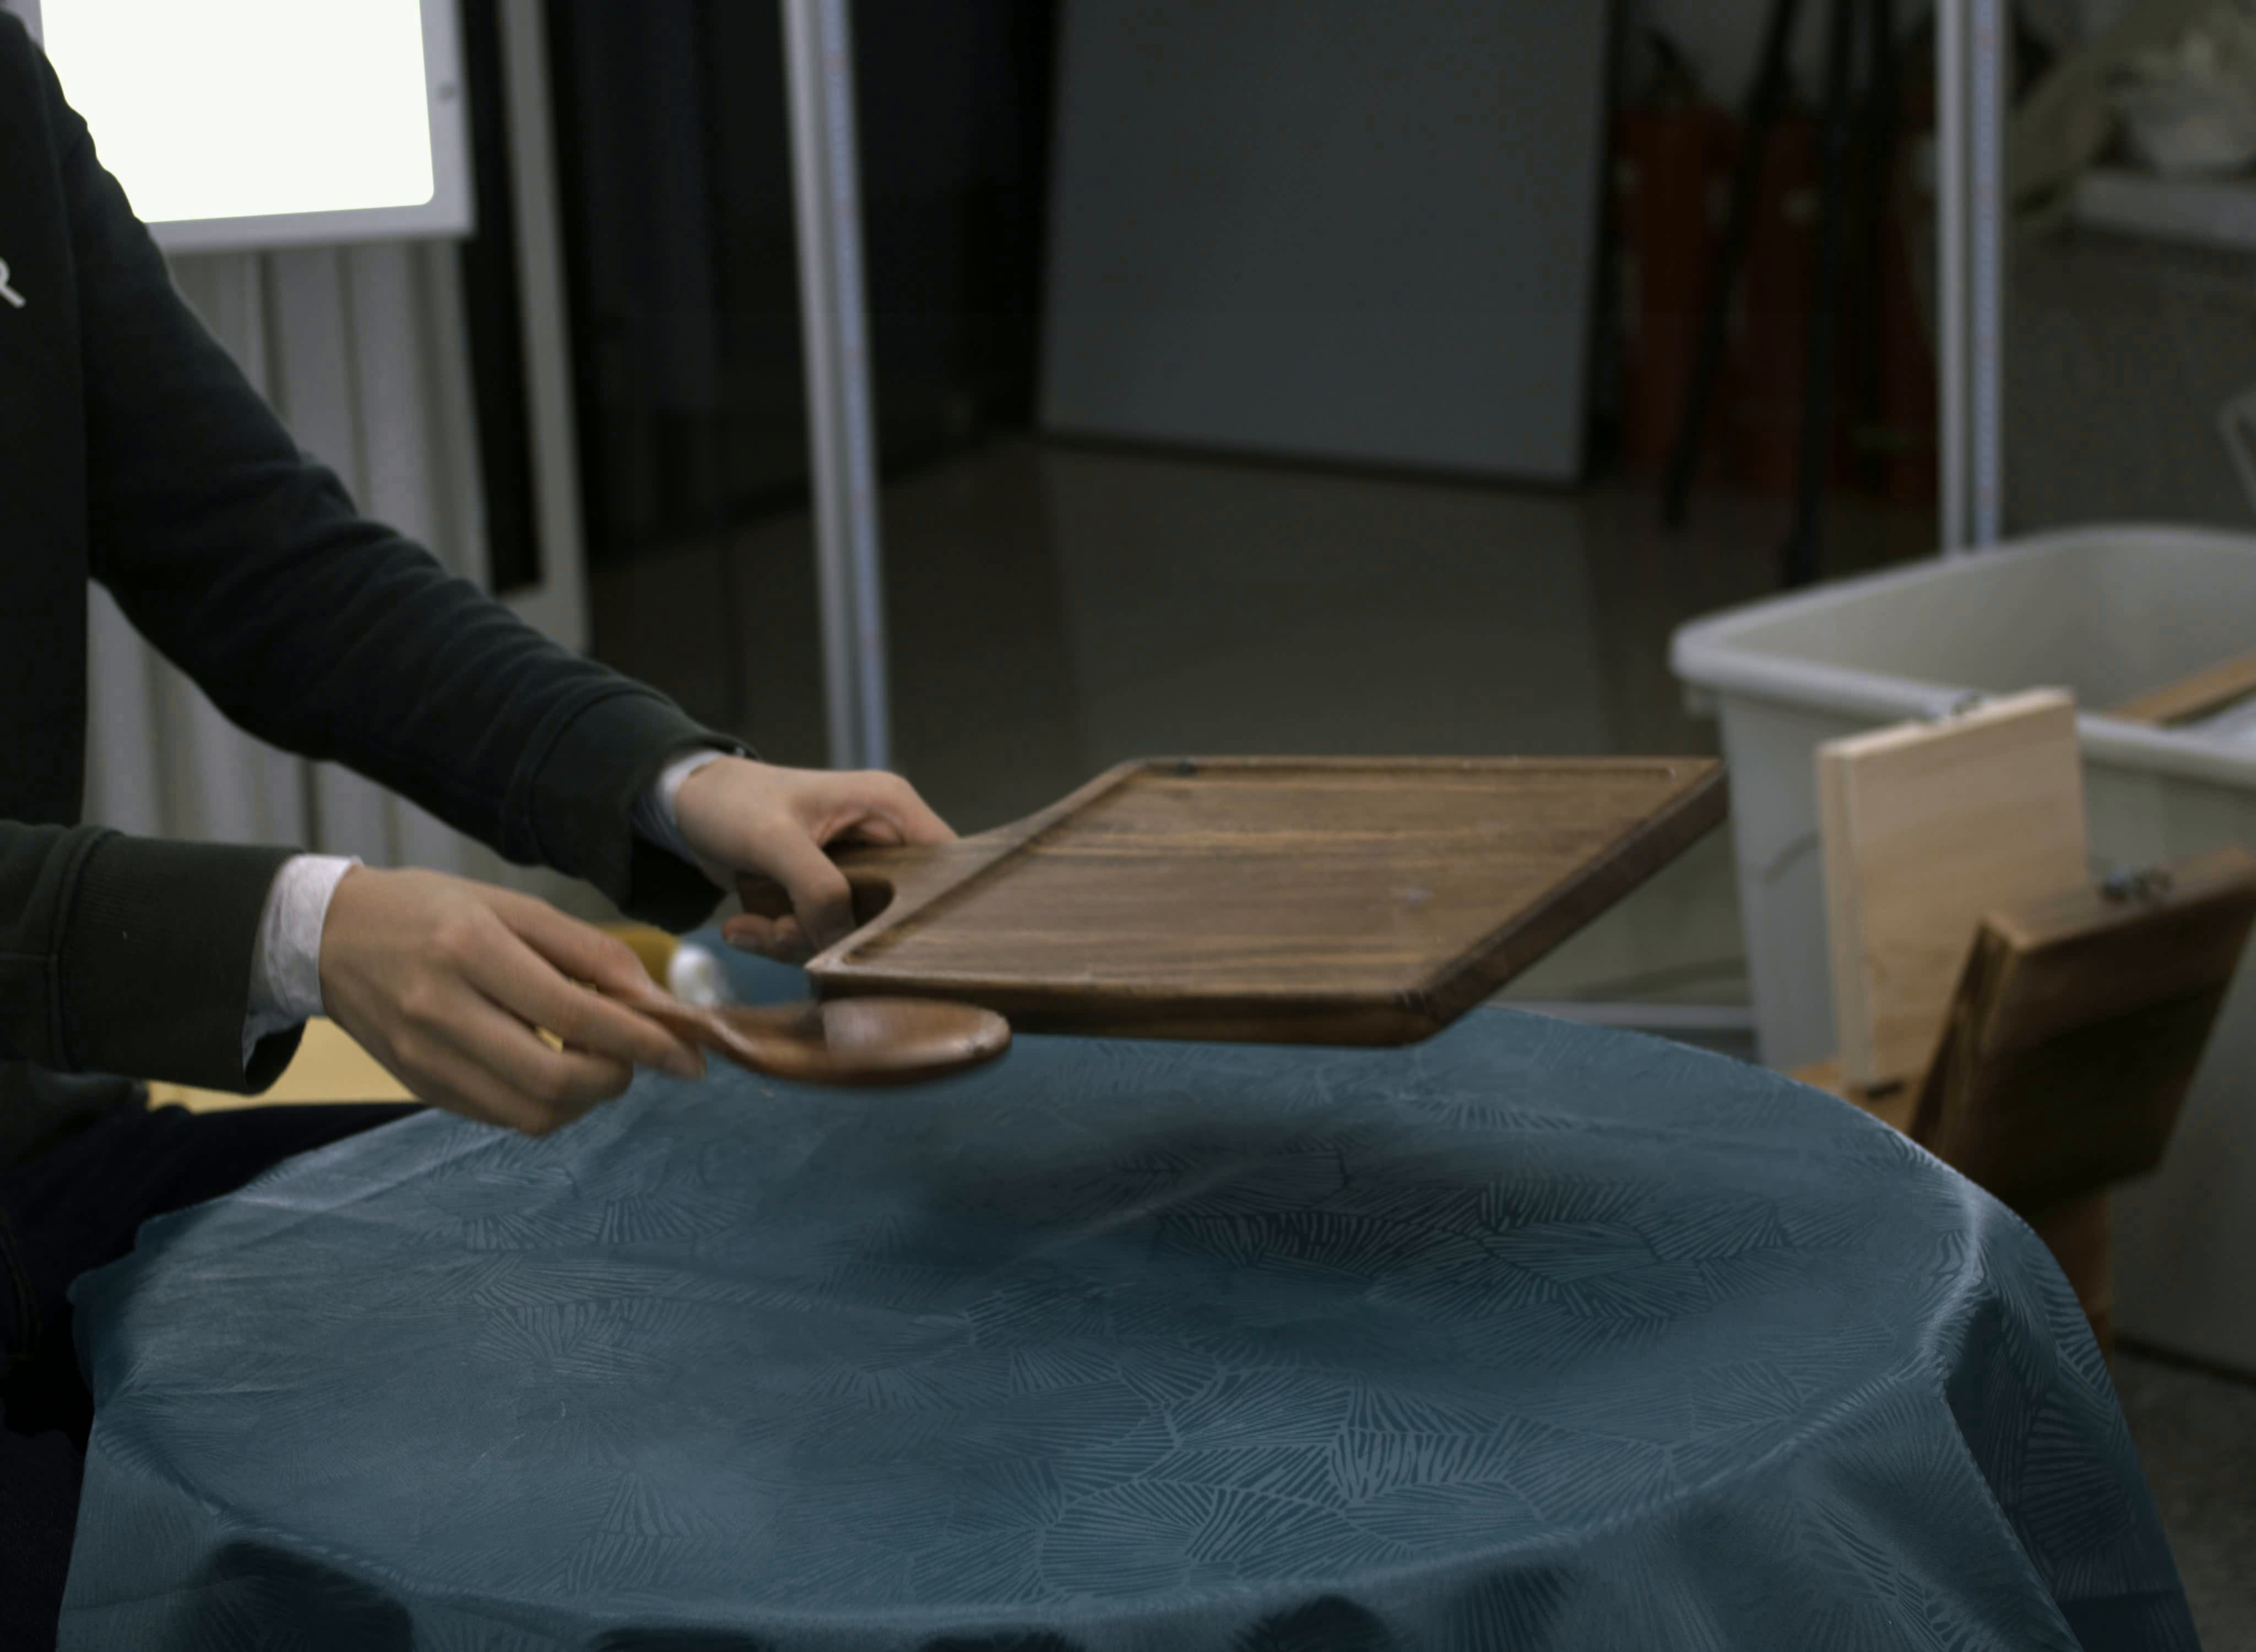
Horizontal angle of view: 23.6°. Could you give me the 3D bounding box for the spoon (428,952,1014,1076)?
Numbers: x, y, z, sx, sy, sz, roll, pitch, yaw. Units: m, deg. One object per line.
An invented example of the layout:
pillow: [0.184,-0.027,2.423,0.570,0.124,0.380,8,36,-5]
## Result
spoon: [-0.127,0.056,1.632,0.217,0.017,0.074,6,16,36]

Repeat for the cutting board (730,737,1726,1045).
cutting board: [0.005,0.020,1.772,0.355,0.023,0.198,-1,23,40]
